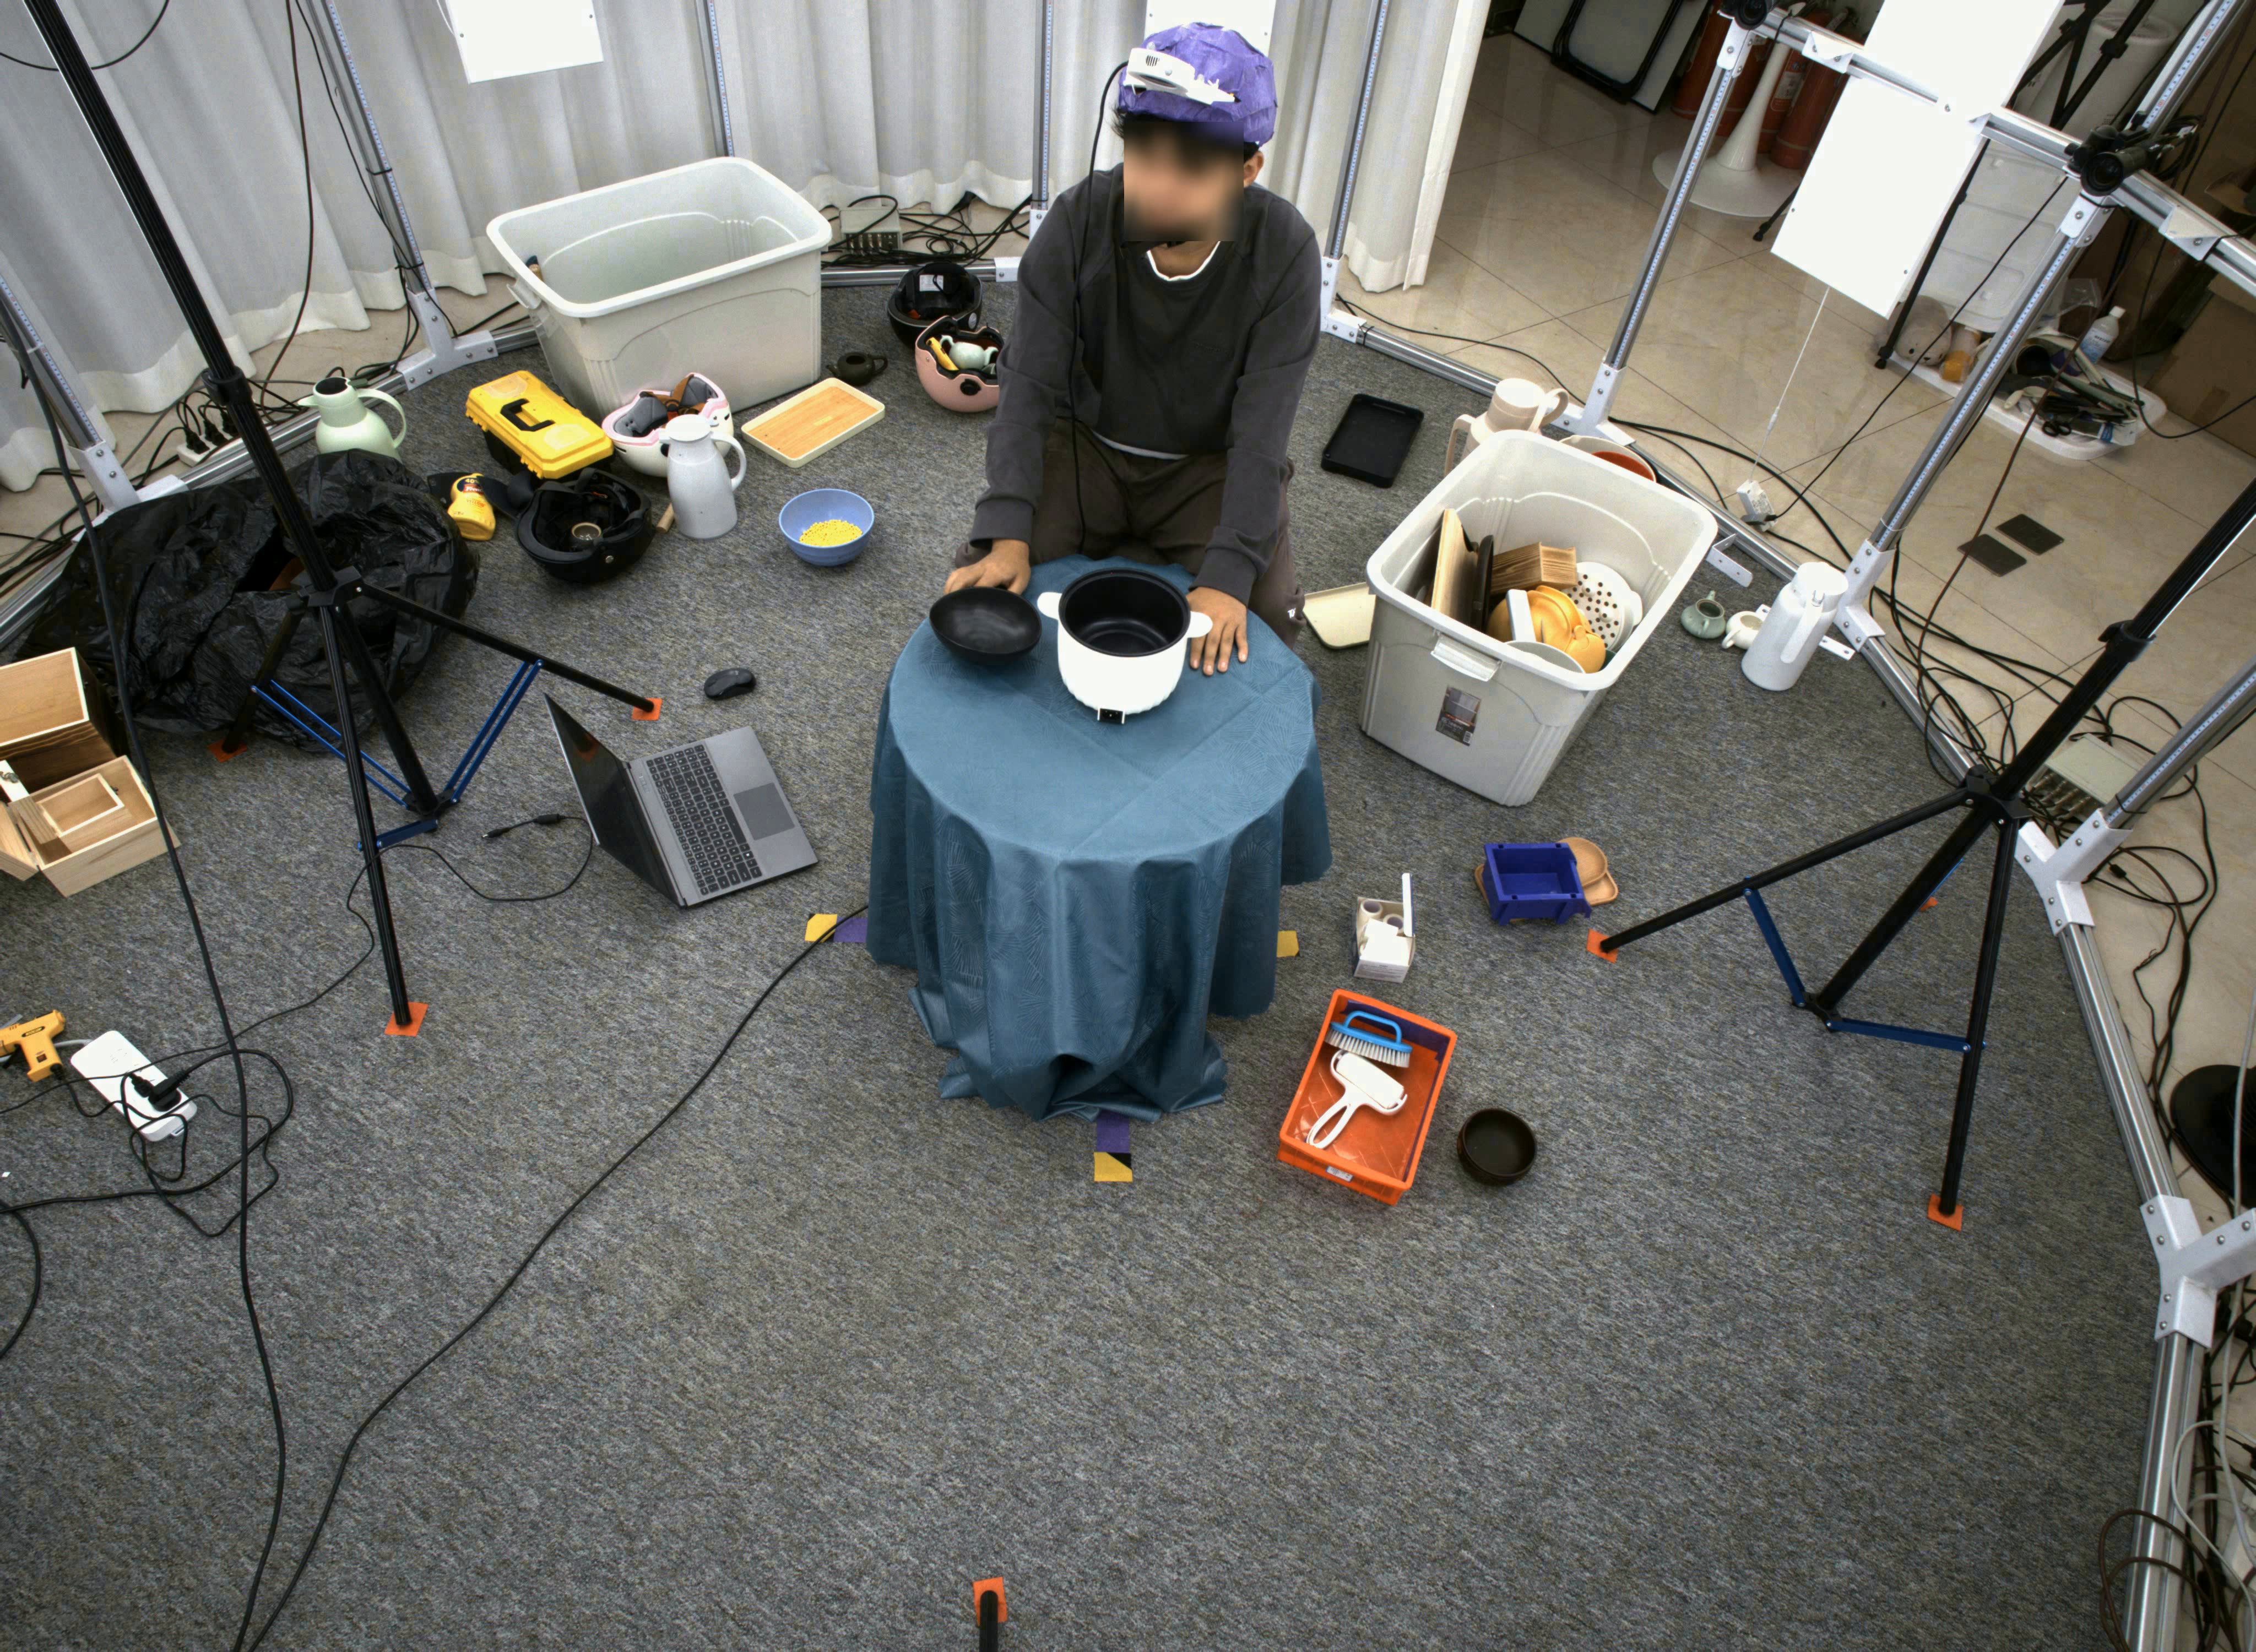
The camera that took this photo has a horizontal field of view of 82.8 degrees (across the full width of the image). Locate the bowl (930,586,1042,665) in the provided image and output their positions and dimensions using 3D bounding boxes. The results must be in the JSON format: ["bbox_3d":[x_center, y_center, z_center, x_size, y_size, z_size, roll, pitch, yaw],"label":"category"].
[{"bbox_3d":[-0.204,-0.276,1.848,0.171,0.065,0.140,22,50,16],"label":"bowl"}]

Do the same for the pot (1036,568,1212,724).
[{"bbox_3d":[-0.010,-0.255,1.797,0.240,0.139,0.195,8,52,1],"label":"pot"}]
